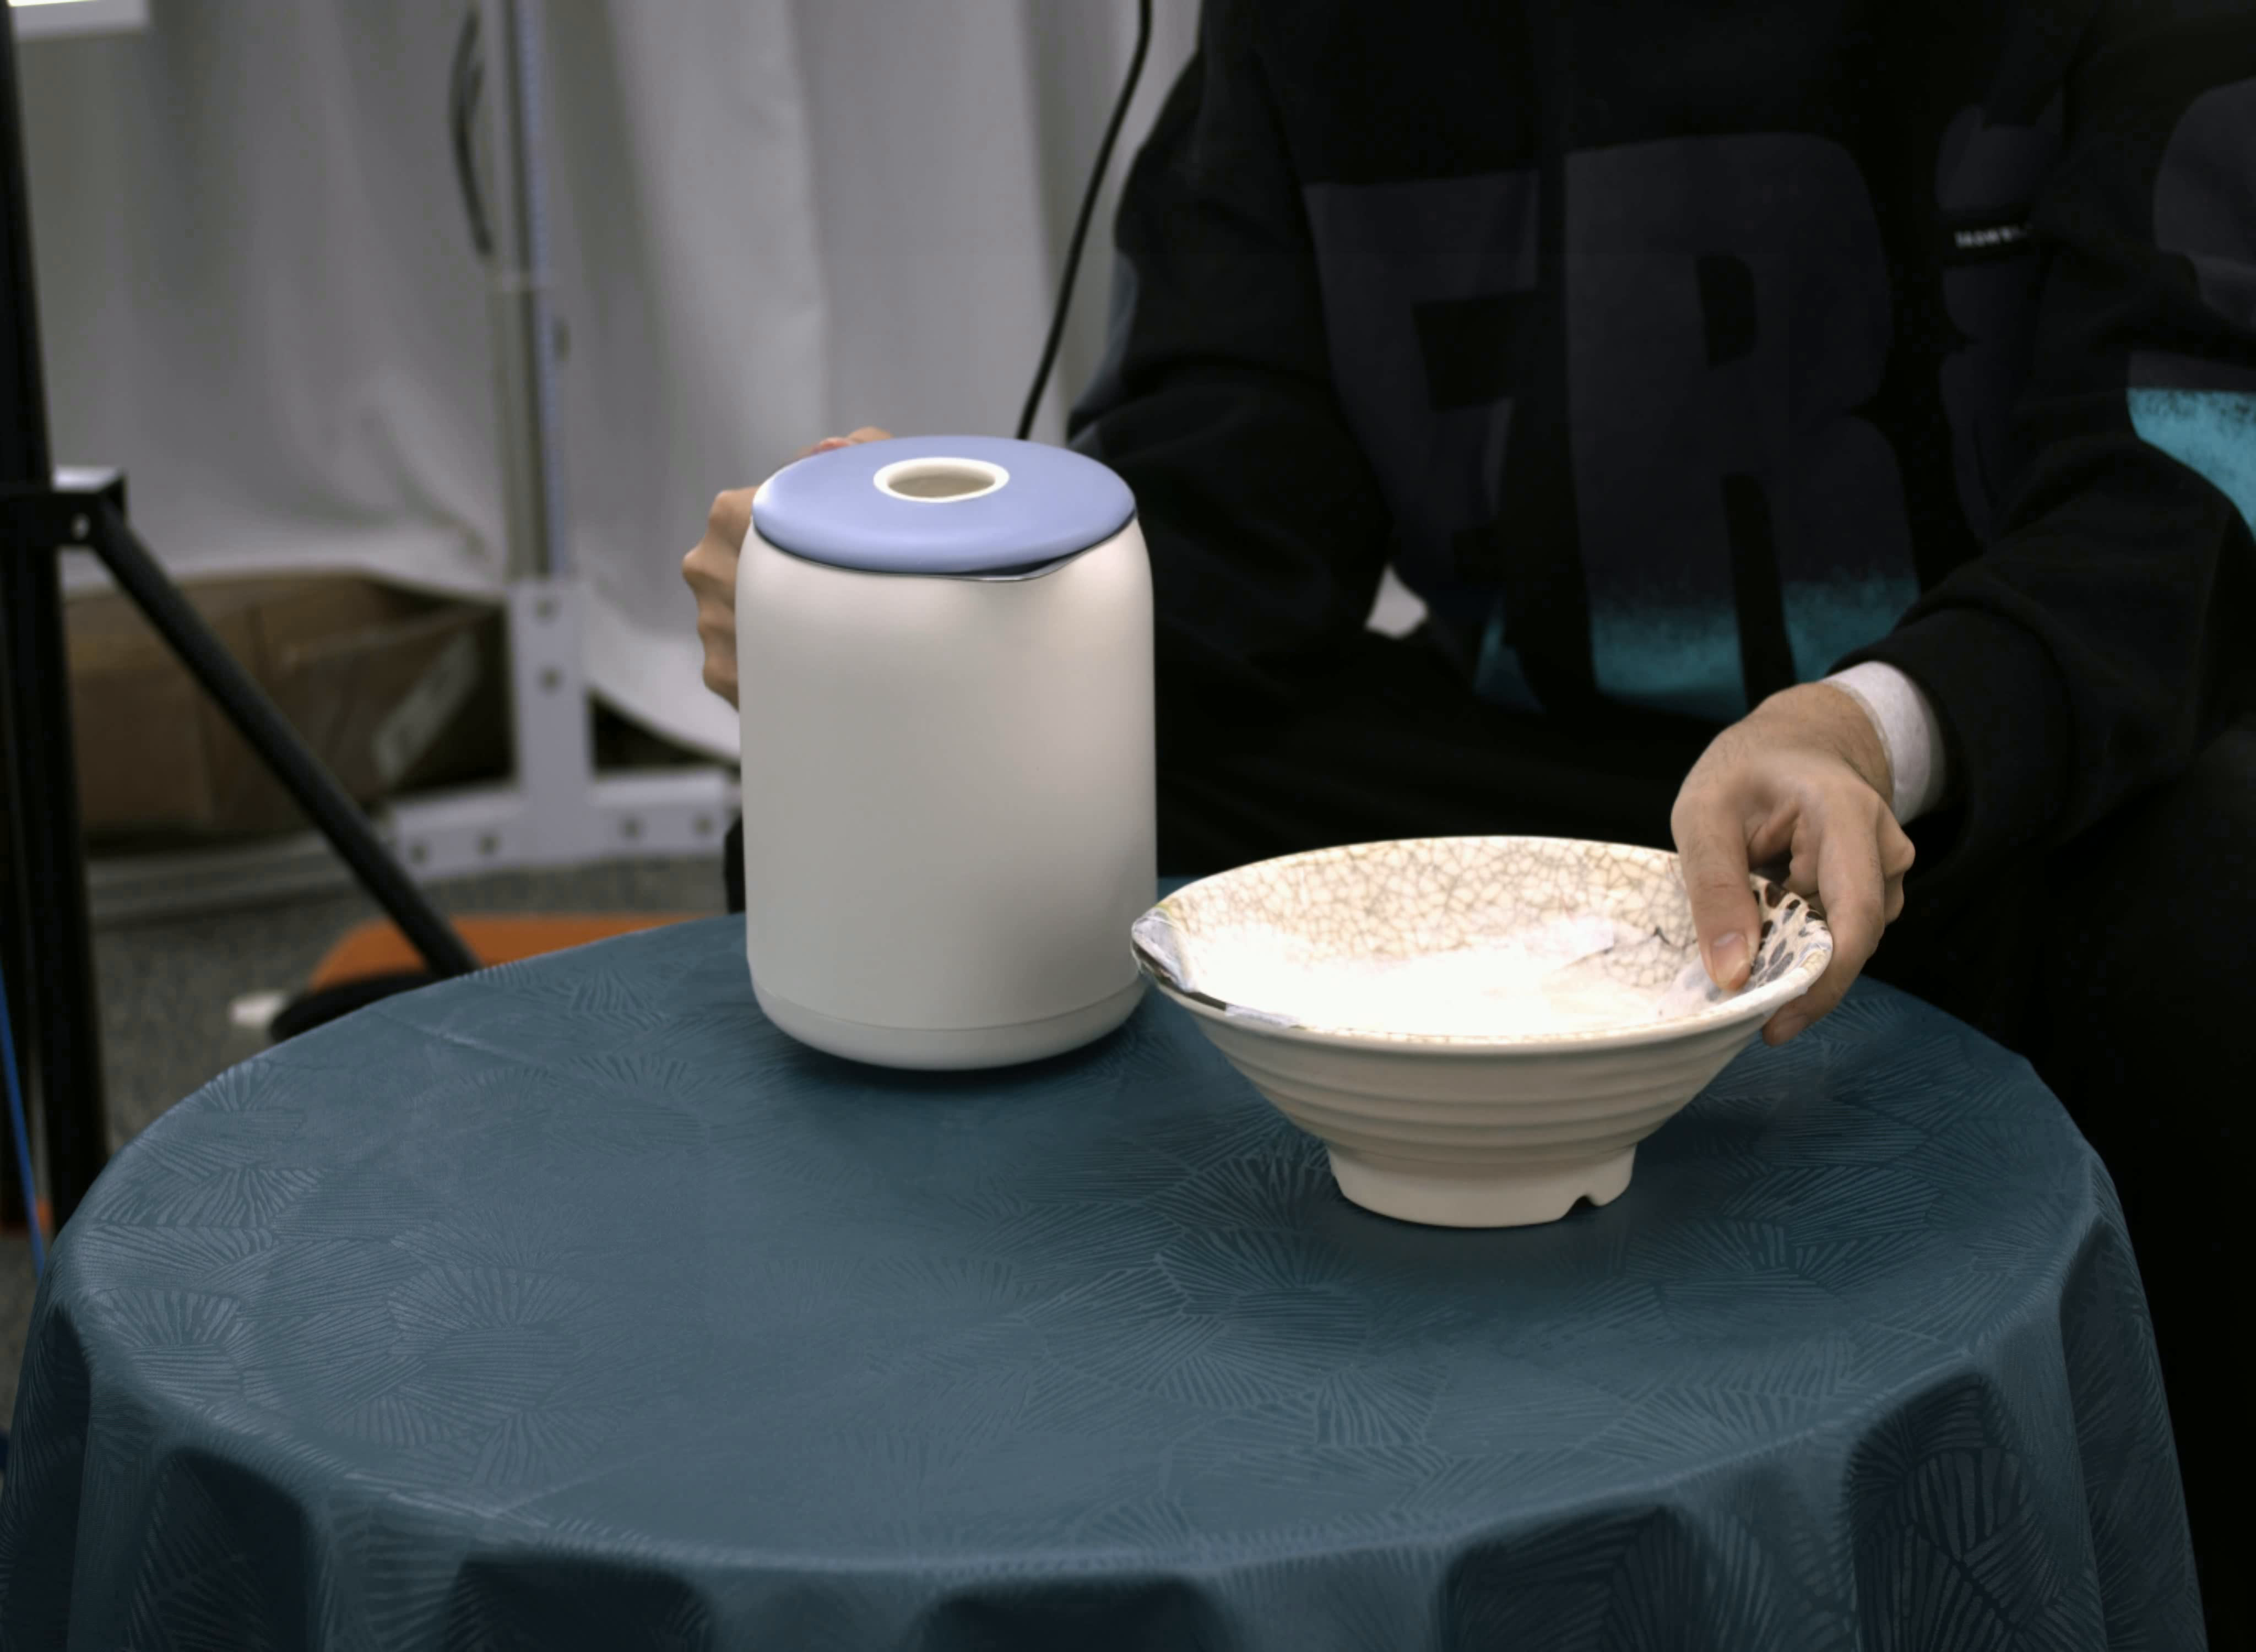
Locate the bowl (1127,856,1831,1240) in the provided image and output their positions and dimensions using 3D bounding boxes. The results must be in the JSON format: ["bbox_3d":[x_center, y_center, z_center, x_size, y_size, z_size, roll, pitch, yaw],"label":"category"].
[{"bbox_3d":[0.100,0.070,1.539,0.203,0.078,0.205,1,13,-2],"label":"bowl"}]

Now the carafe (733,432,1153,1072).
[{"bbox_3d":[-0.068,-0.031,1.700,0.129,0.182,0.195,-9,20,-23],"label":"carafe"}]
